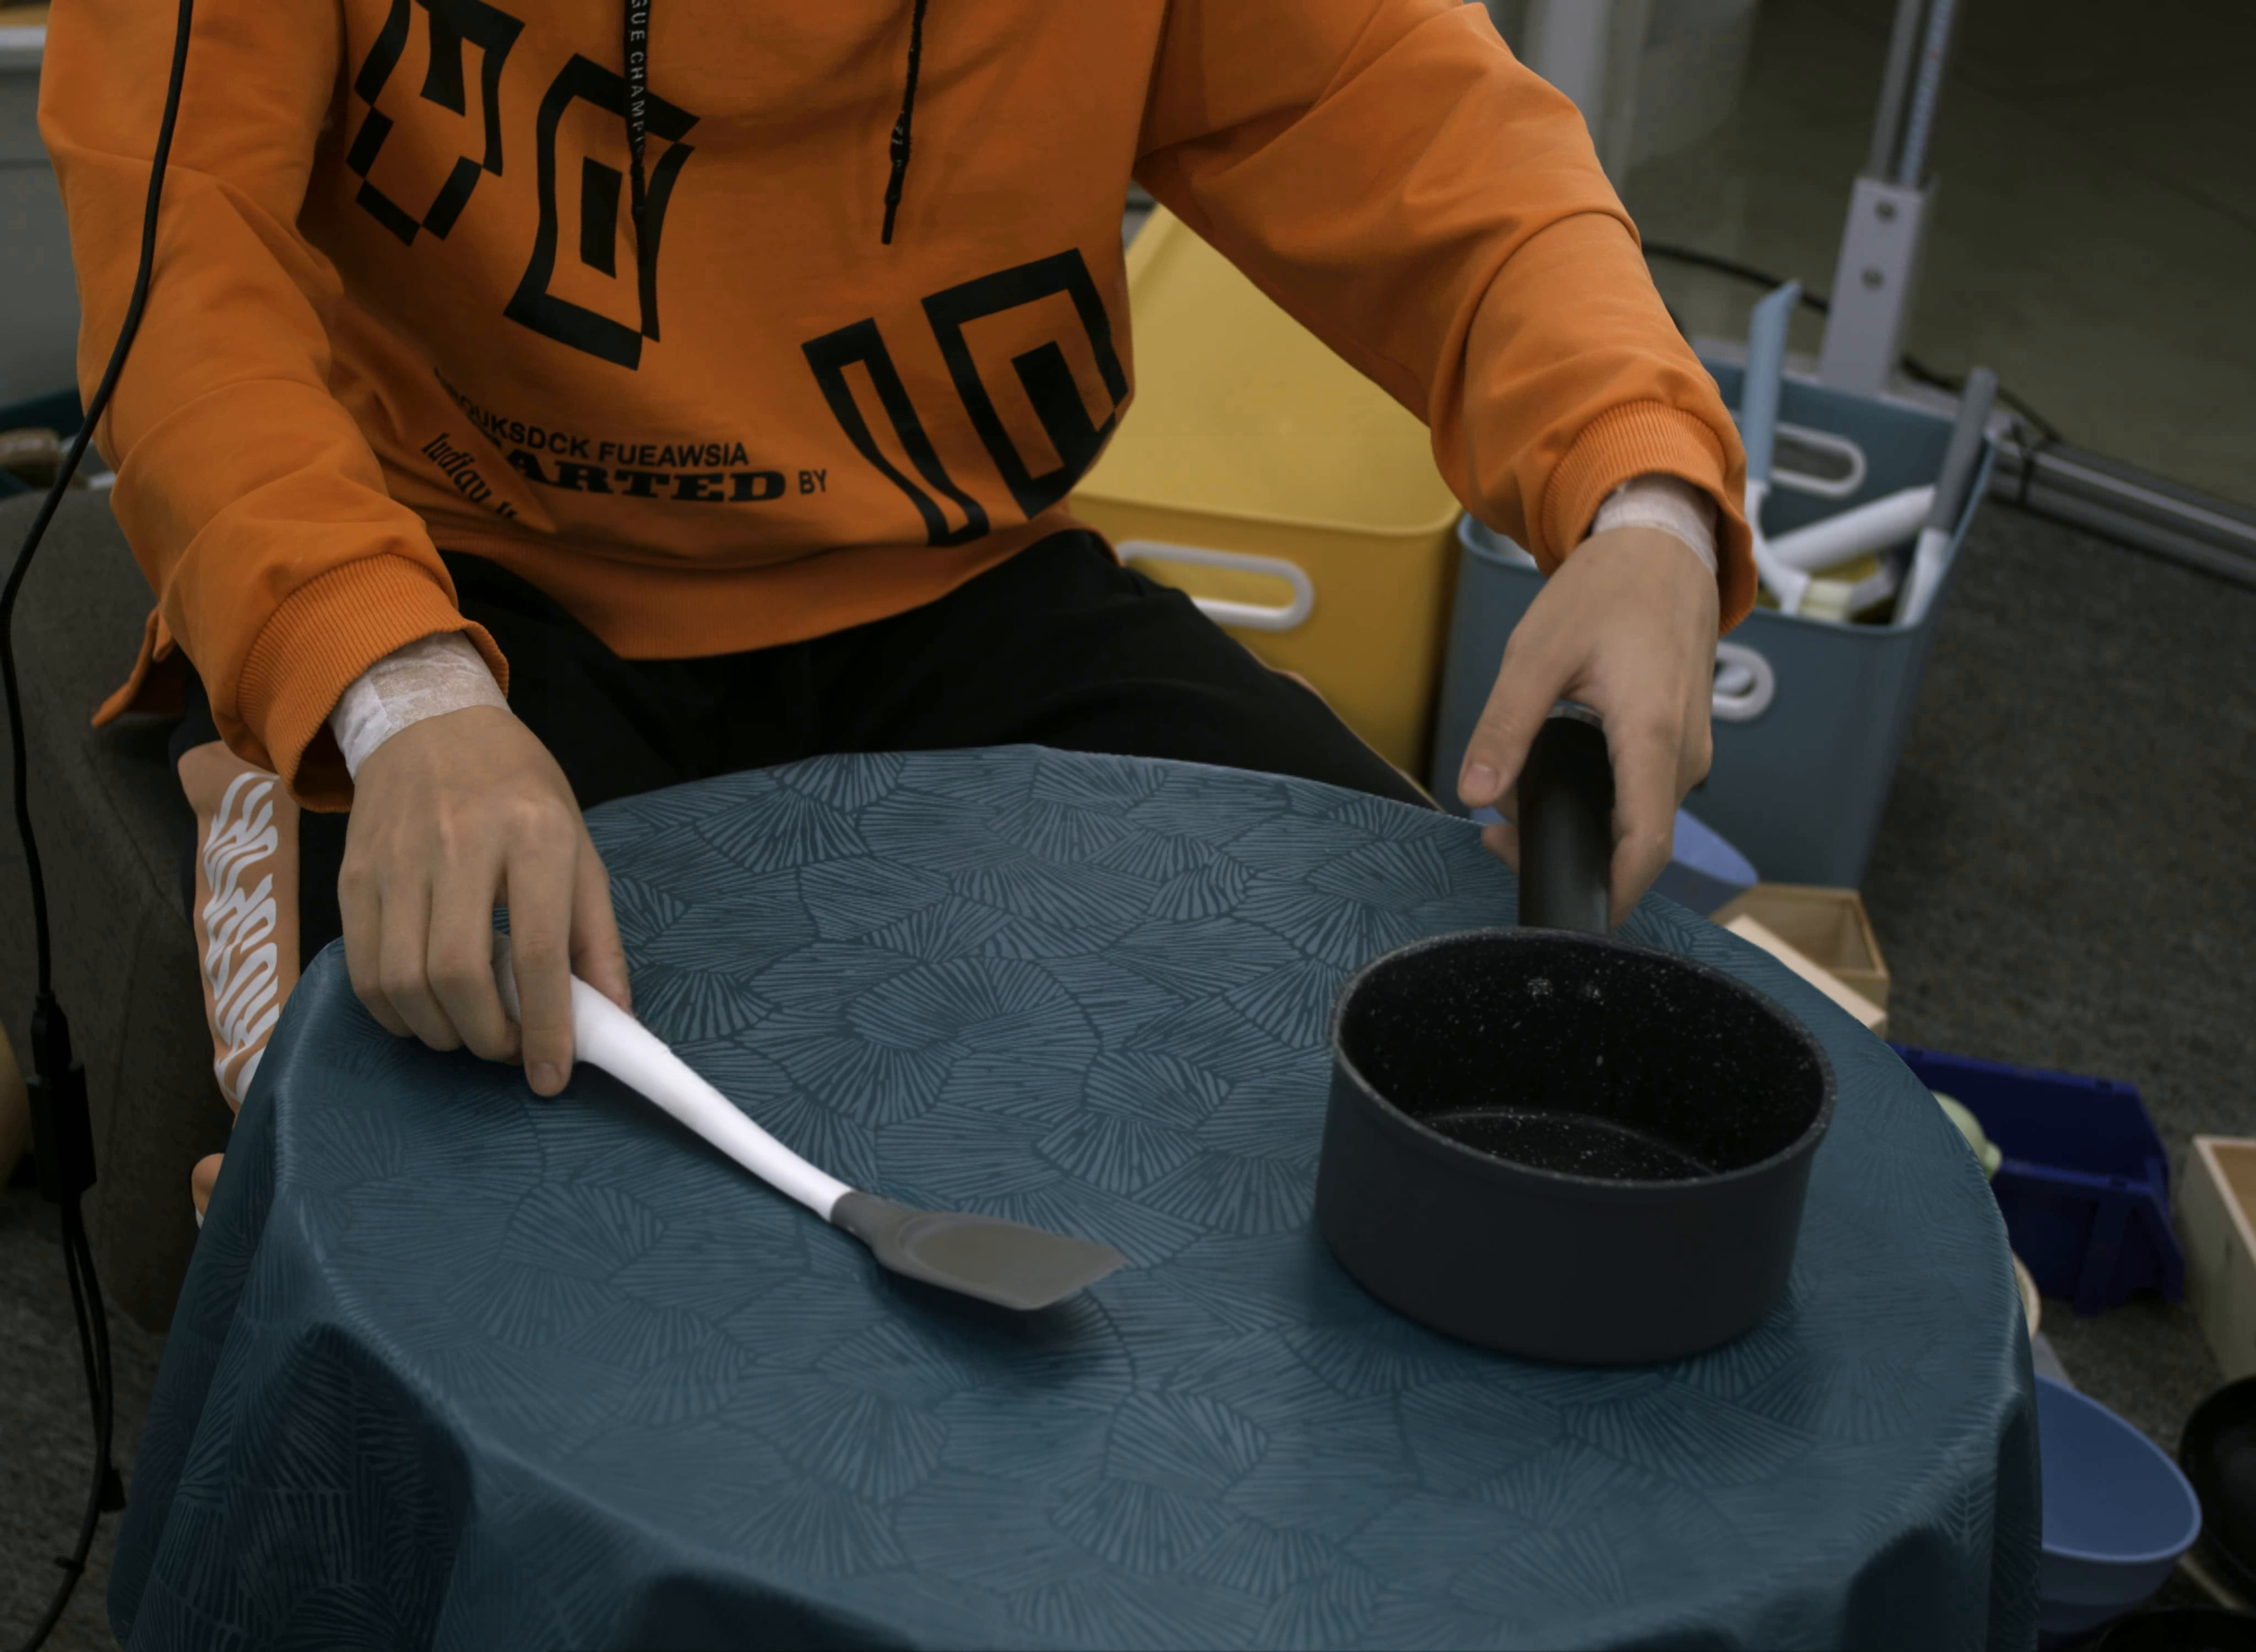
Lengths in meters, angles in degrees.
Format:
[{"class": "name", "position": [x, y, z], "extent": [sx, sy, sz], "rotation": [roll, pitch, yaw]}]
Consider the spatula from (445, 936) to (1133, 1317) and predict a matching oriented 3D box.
[{"class": "spatula", "position": [-0.120, 0.104, 1.779], "extent": [0.289, 0.032, 0.058], "rotation": [26, 27, 34]}]

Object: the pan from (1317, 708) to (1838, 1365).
[{"class": "pan", "position": [0.155, 0.068, 1.853], "extent": [0.171, 0.086, 0.330], "rotation": [9, 29, 2]}]
